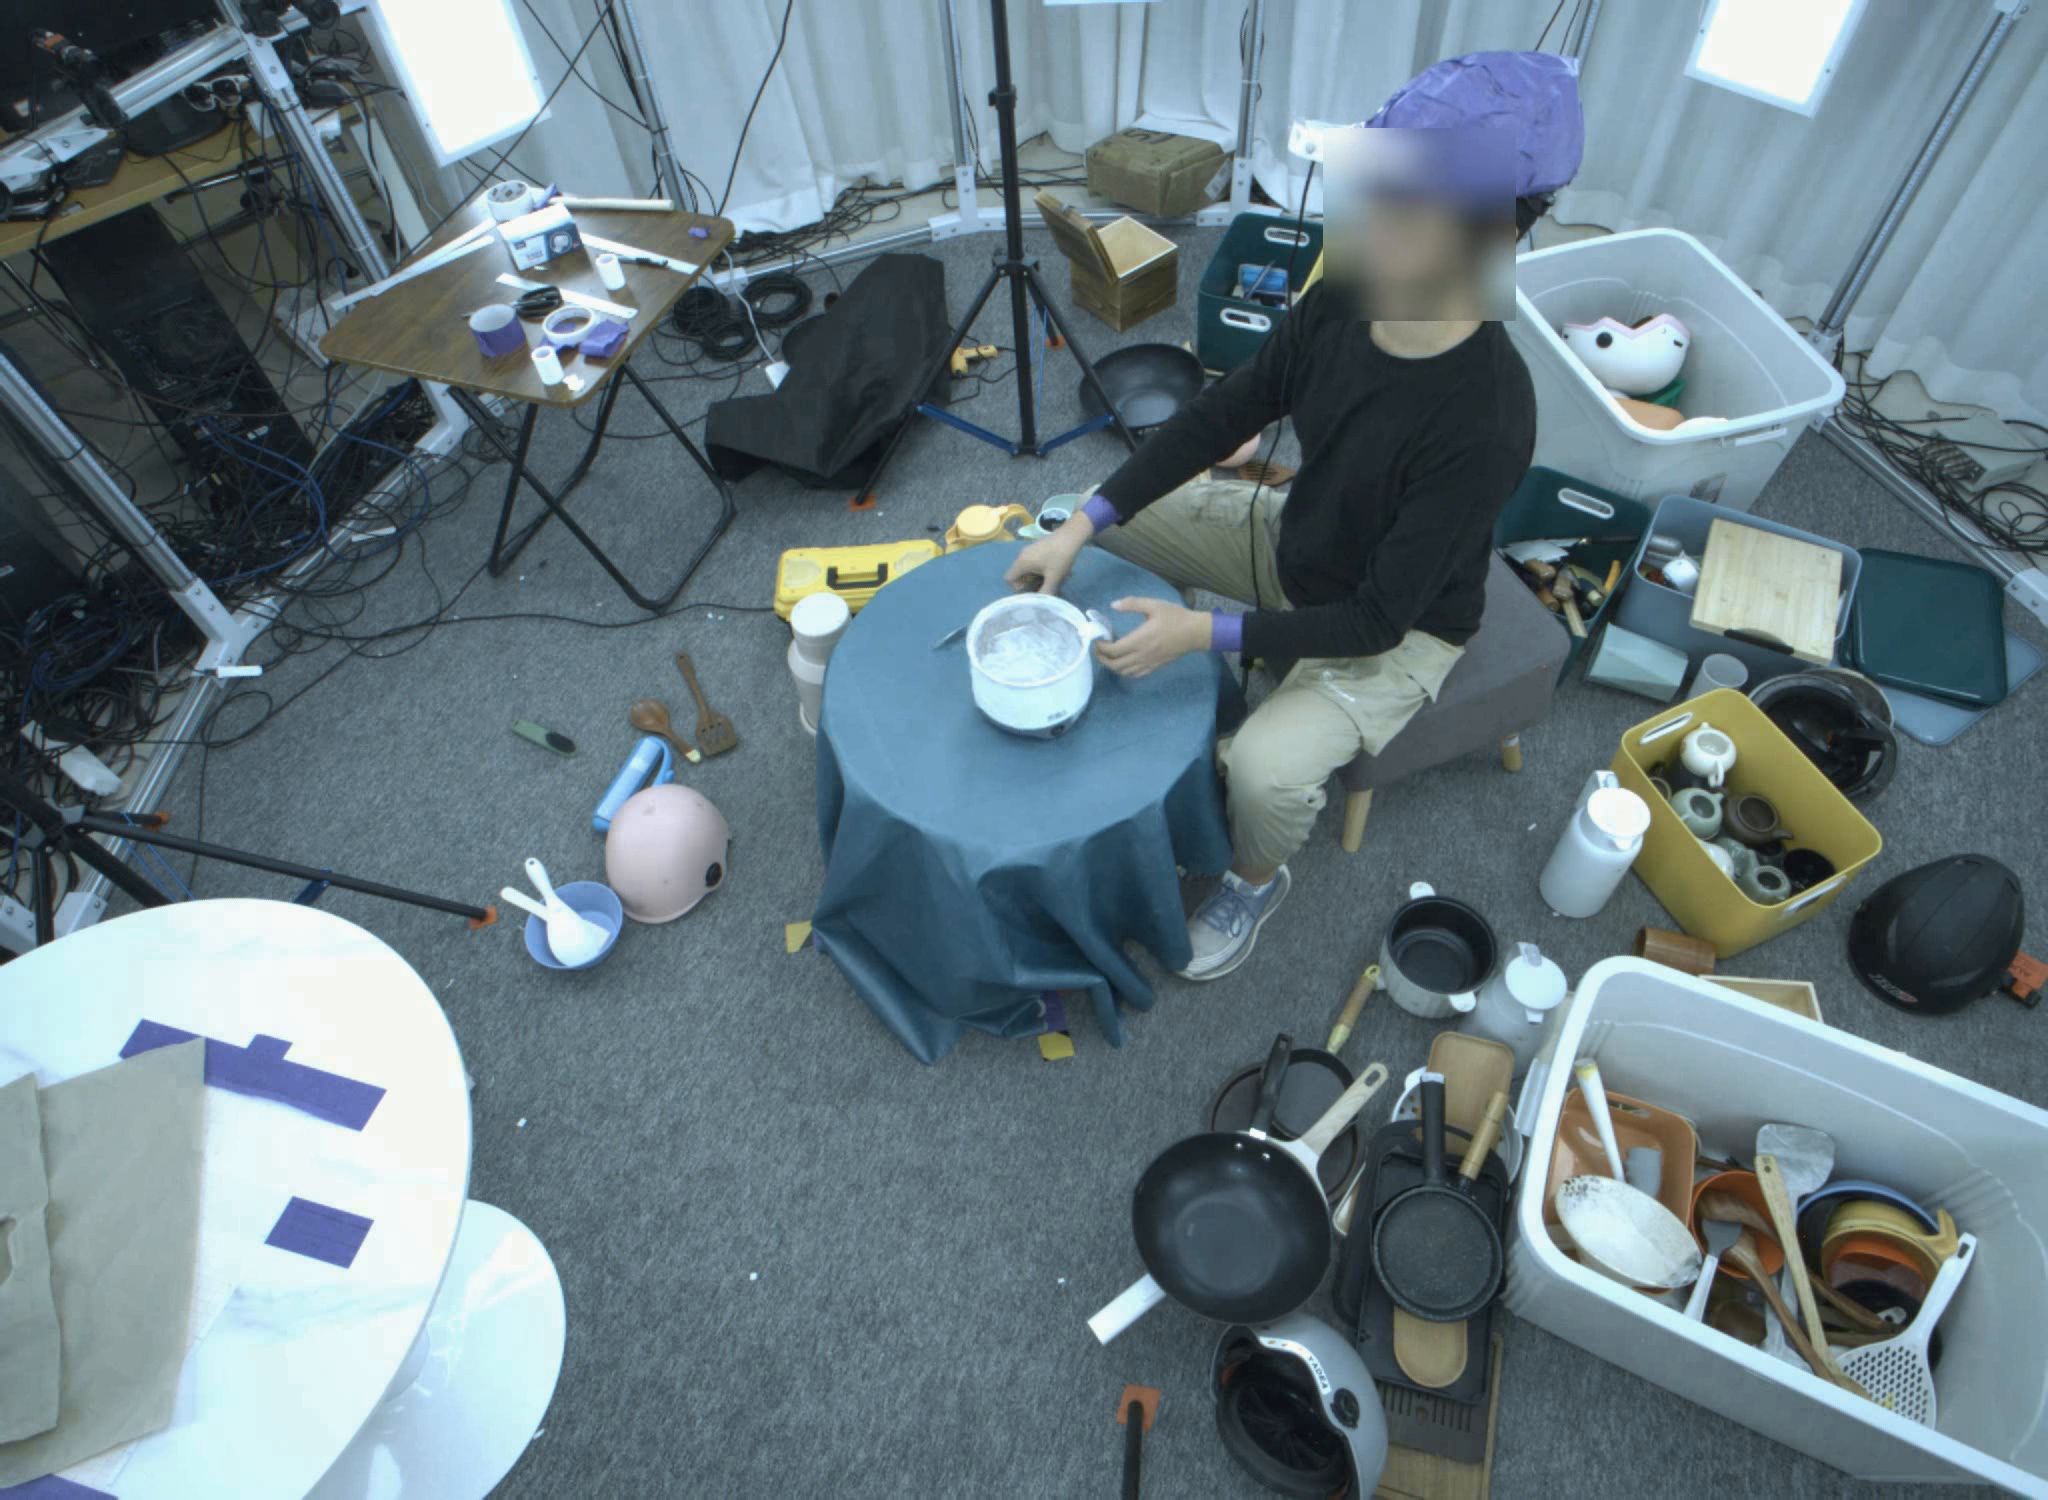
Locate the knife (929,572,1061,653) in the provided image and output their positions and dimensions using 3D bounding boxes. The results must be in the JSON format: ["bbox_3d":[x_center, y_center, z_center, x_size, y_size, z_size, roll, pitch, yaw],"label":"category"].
[{"bbox_3d":[-0.047,-0.215,1.910,0.239,0.025,0.016,-31,42,-7],"label":"knife"}]

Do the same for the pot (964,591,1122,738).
[{"bbox_3d":[0.033,-0.133,1.790,0.235,0.138,0.175,-24,58,-13],"label":"pot"}]
